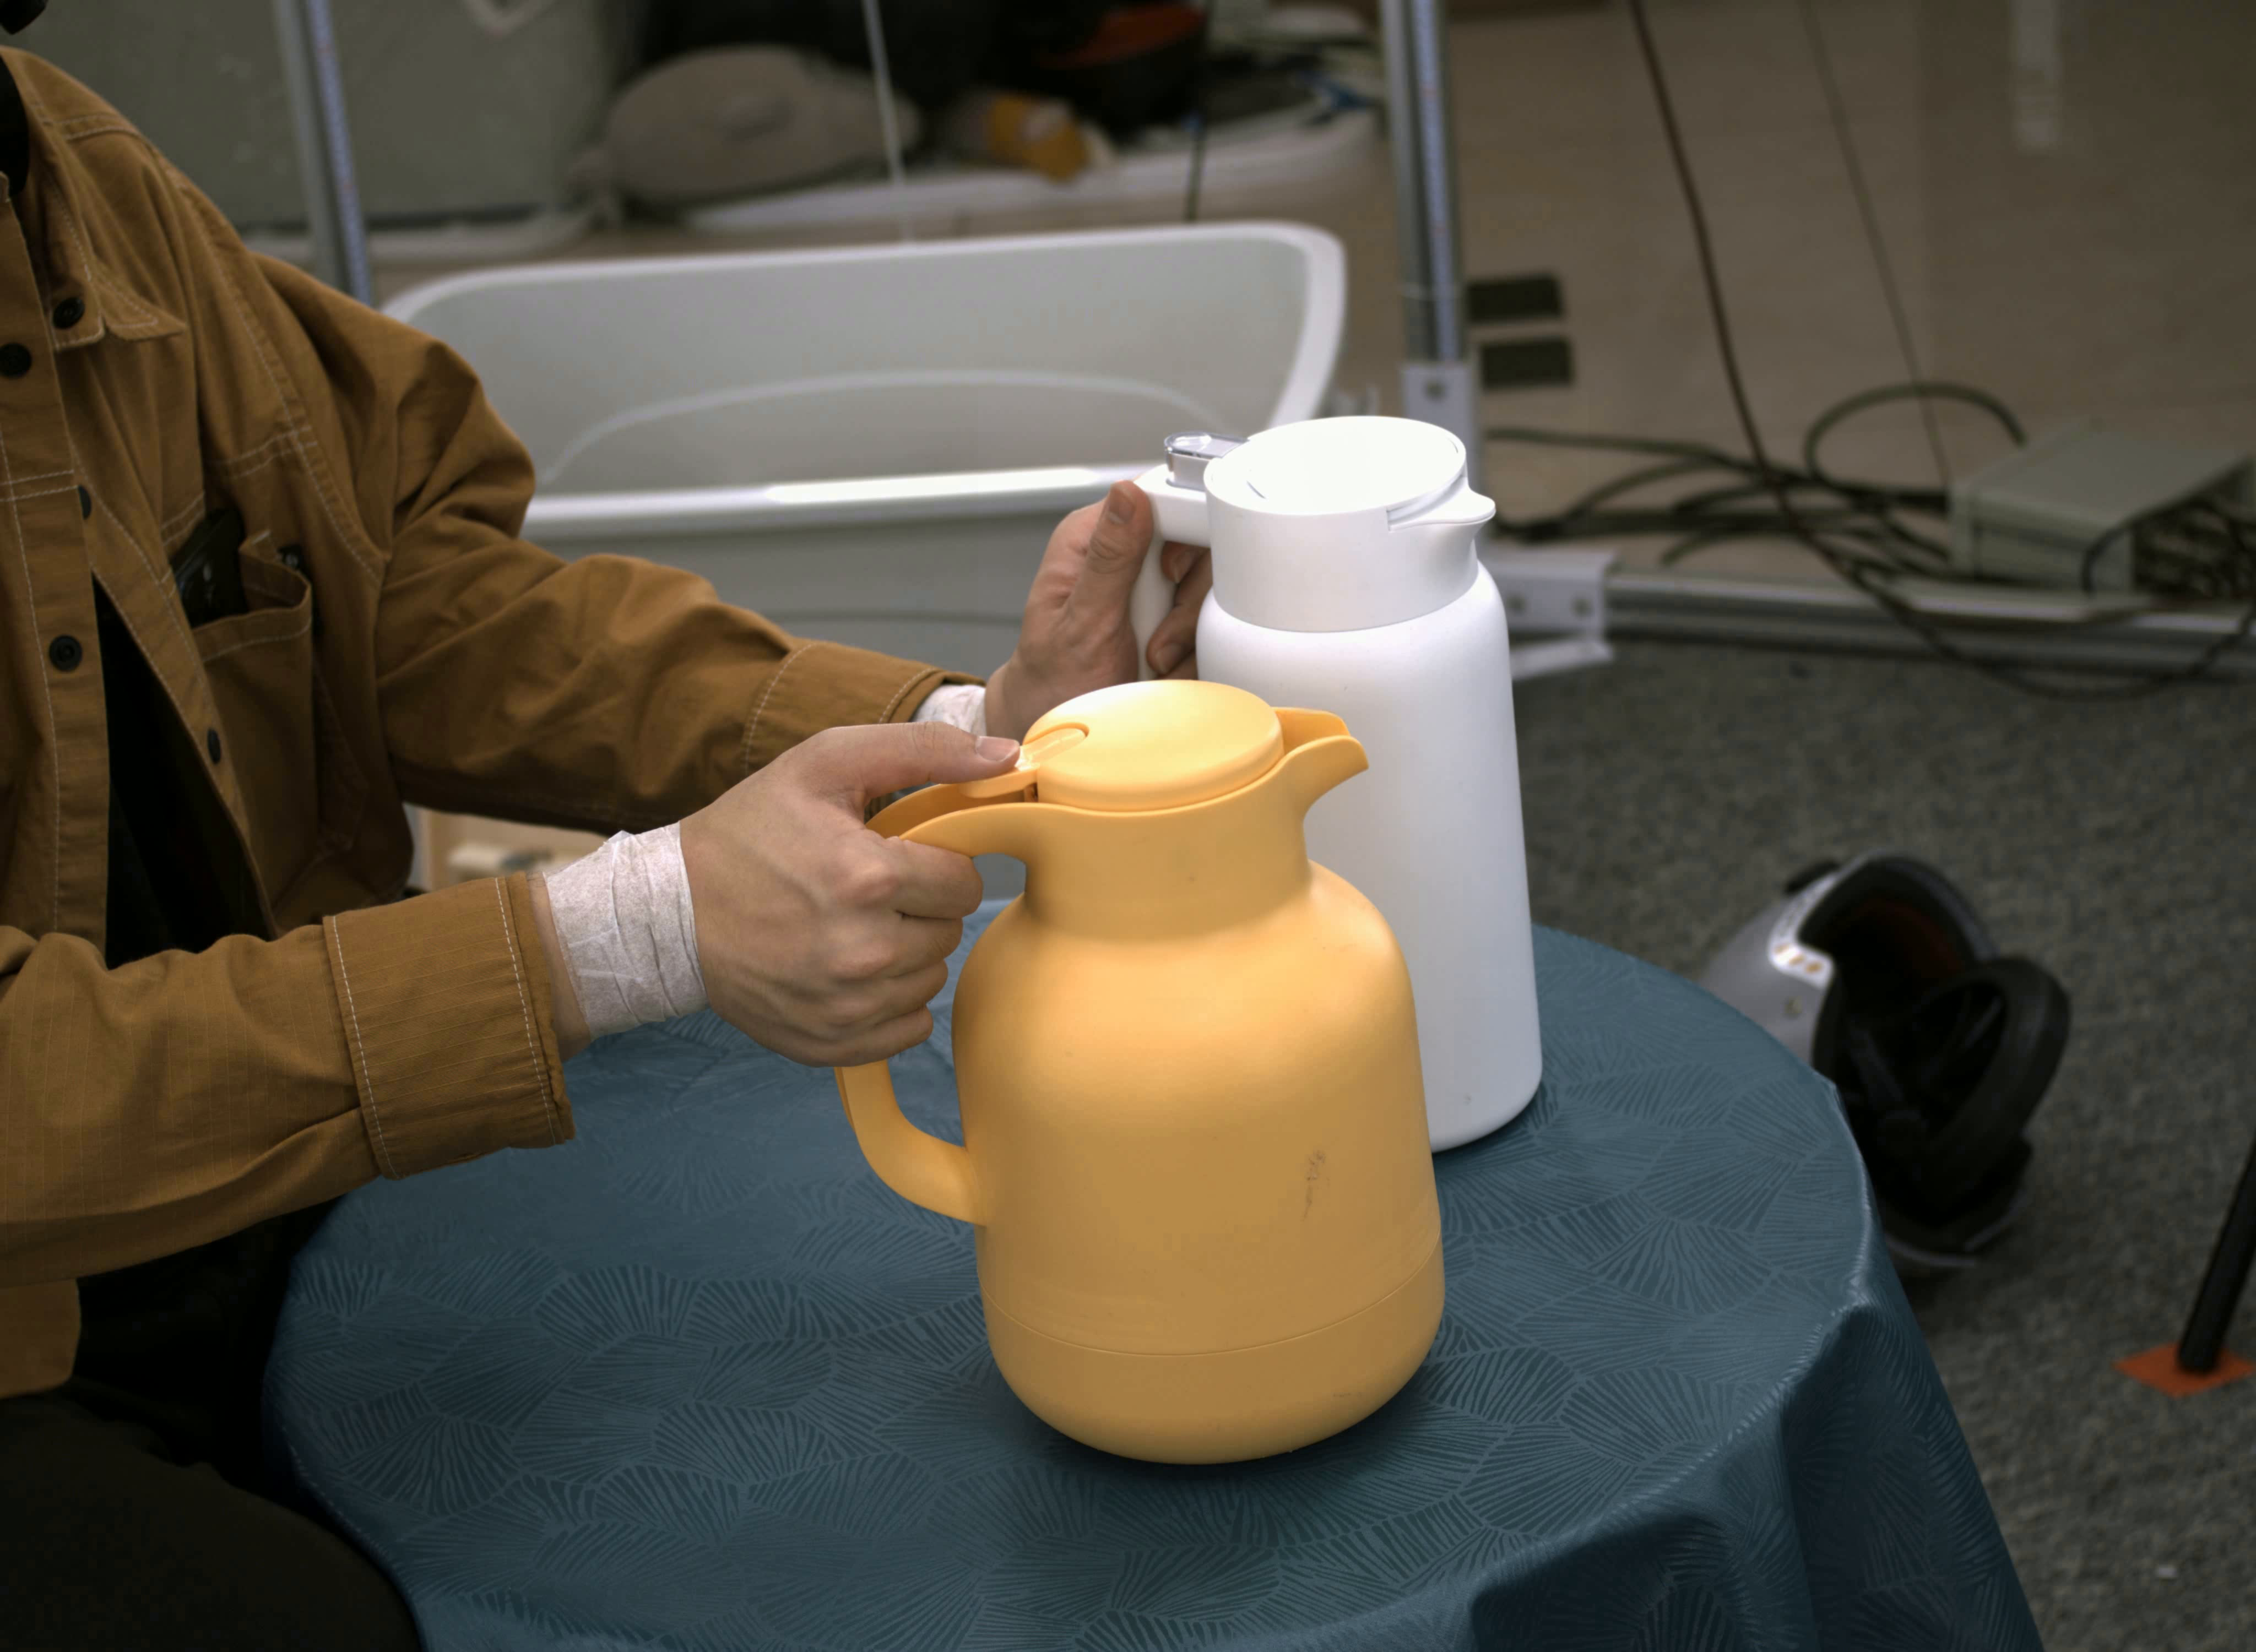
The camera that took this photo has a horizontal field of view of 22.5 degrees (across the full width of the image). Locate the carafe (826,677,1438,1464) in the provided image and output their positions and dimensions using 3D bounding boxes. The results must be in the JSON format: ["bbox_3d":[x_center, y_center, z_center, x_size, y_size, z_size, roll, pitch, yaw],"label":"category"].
[{"bbox_3d":[0.001,0.082,1.956,0.202,0.264,0.161,-9,23,-8],"label":"carafe"}]

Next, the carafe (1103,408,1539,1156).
[{"bbox_3d":[0.074,-0.017,2.145,0.172,0.273,0.122,12,33,34],"label":"carafe"}]
